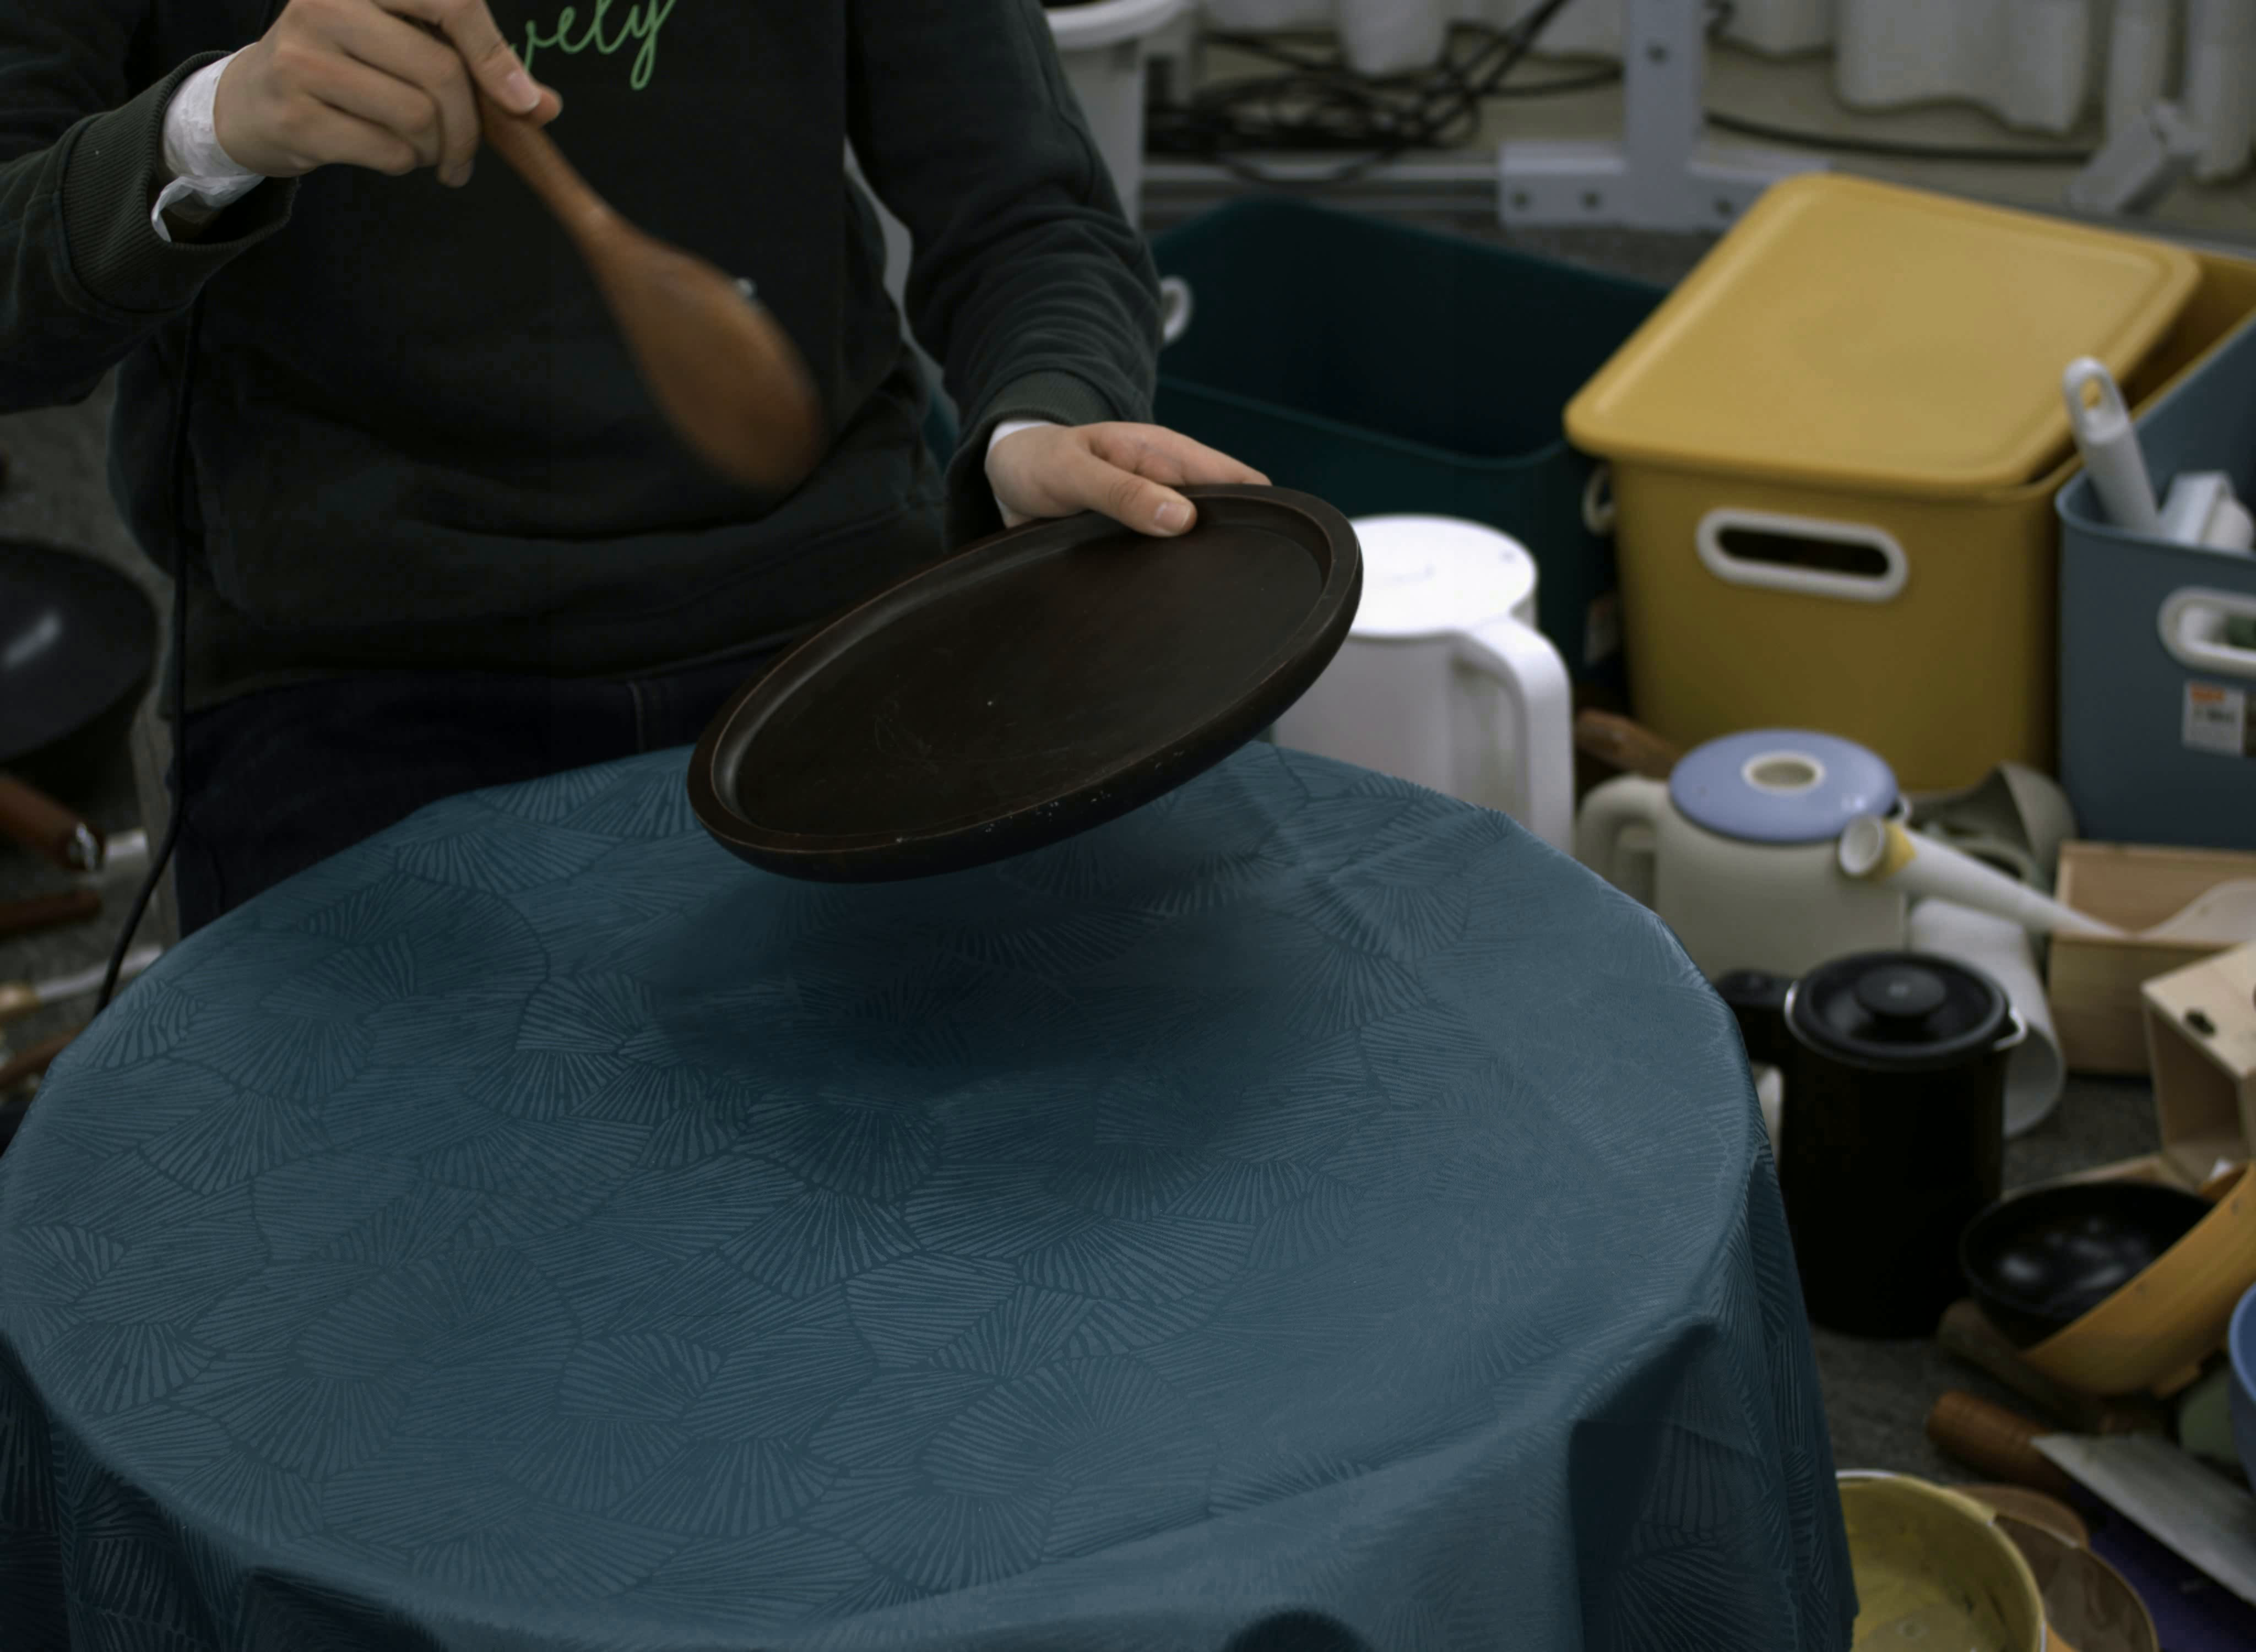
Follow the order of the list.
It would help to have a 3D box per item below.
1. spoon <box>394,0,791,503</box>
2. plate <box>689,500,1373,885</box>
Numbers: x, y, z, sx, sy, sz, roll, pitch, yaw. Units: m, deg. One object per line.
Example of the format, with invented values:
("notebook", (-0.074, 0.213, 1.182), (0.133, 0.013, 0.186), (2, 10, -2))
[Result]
("spoon", (-0.179, -0.195, 1.872), (0.017, 0.074, 0.217), (-29, 76, -29))
("plate", (-0.033, -0.048, 1.974), (0.253, 0.029, 0.258), (-17, 25, 8))
